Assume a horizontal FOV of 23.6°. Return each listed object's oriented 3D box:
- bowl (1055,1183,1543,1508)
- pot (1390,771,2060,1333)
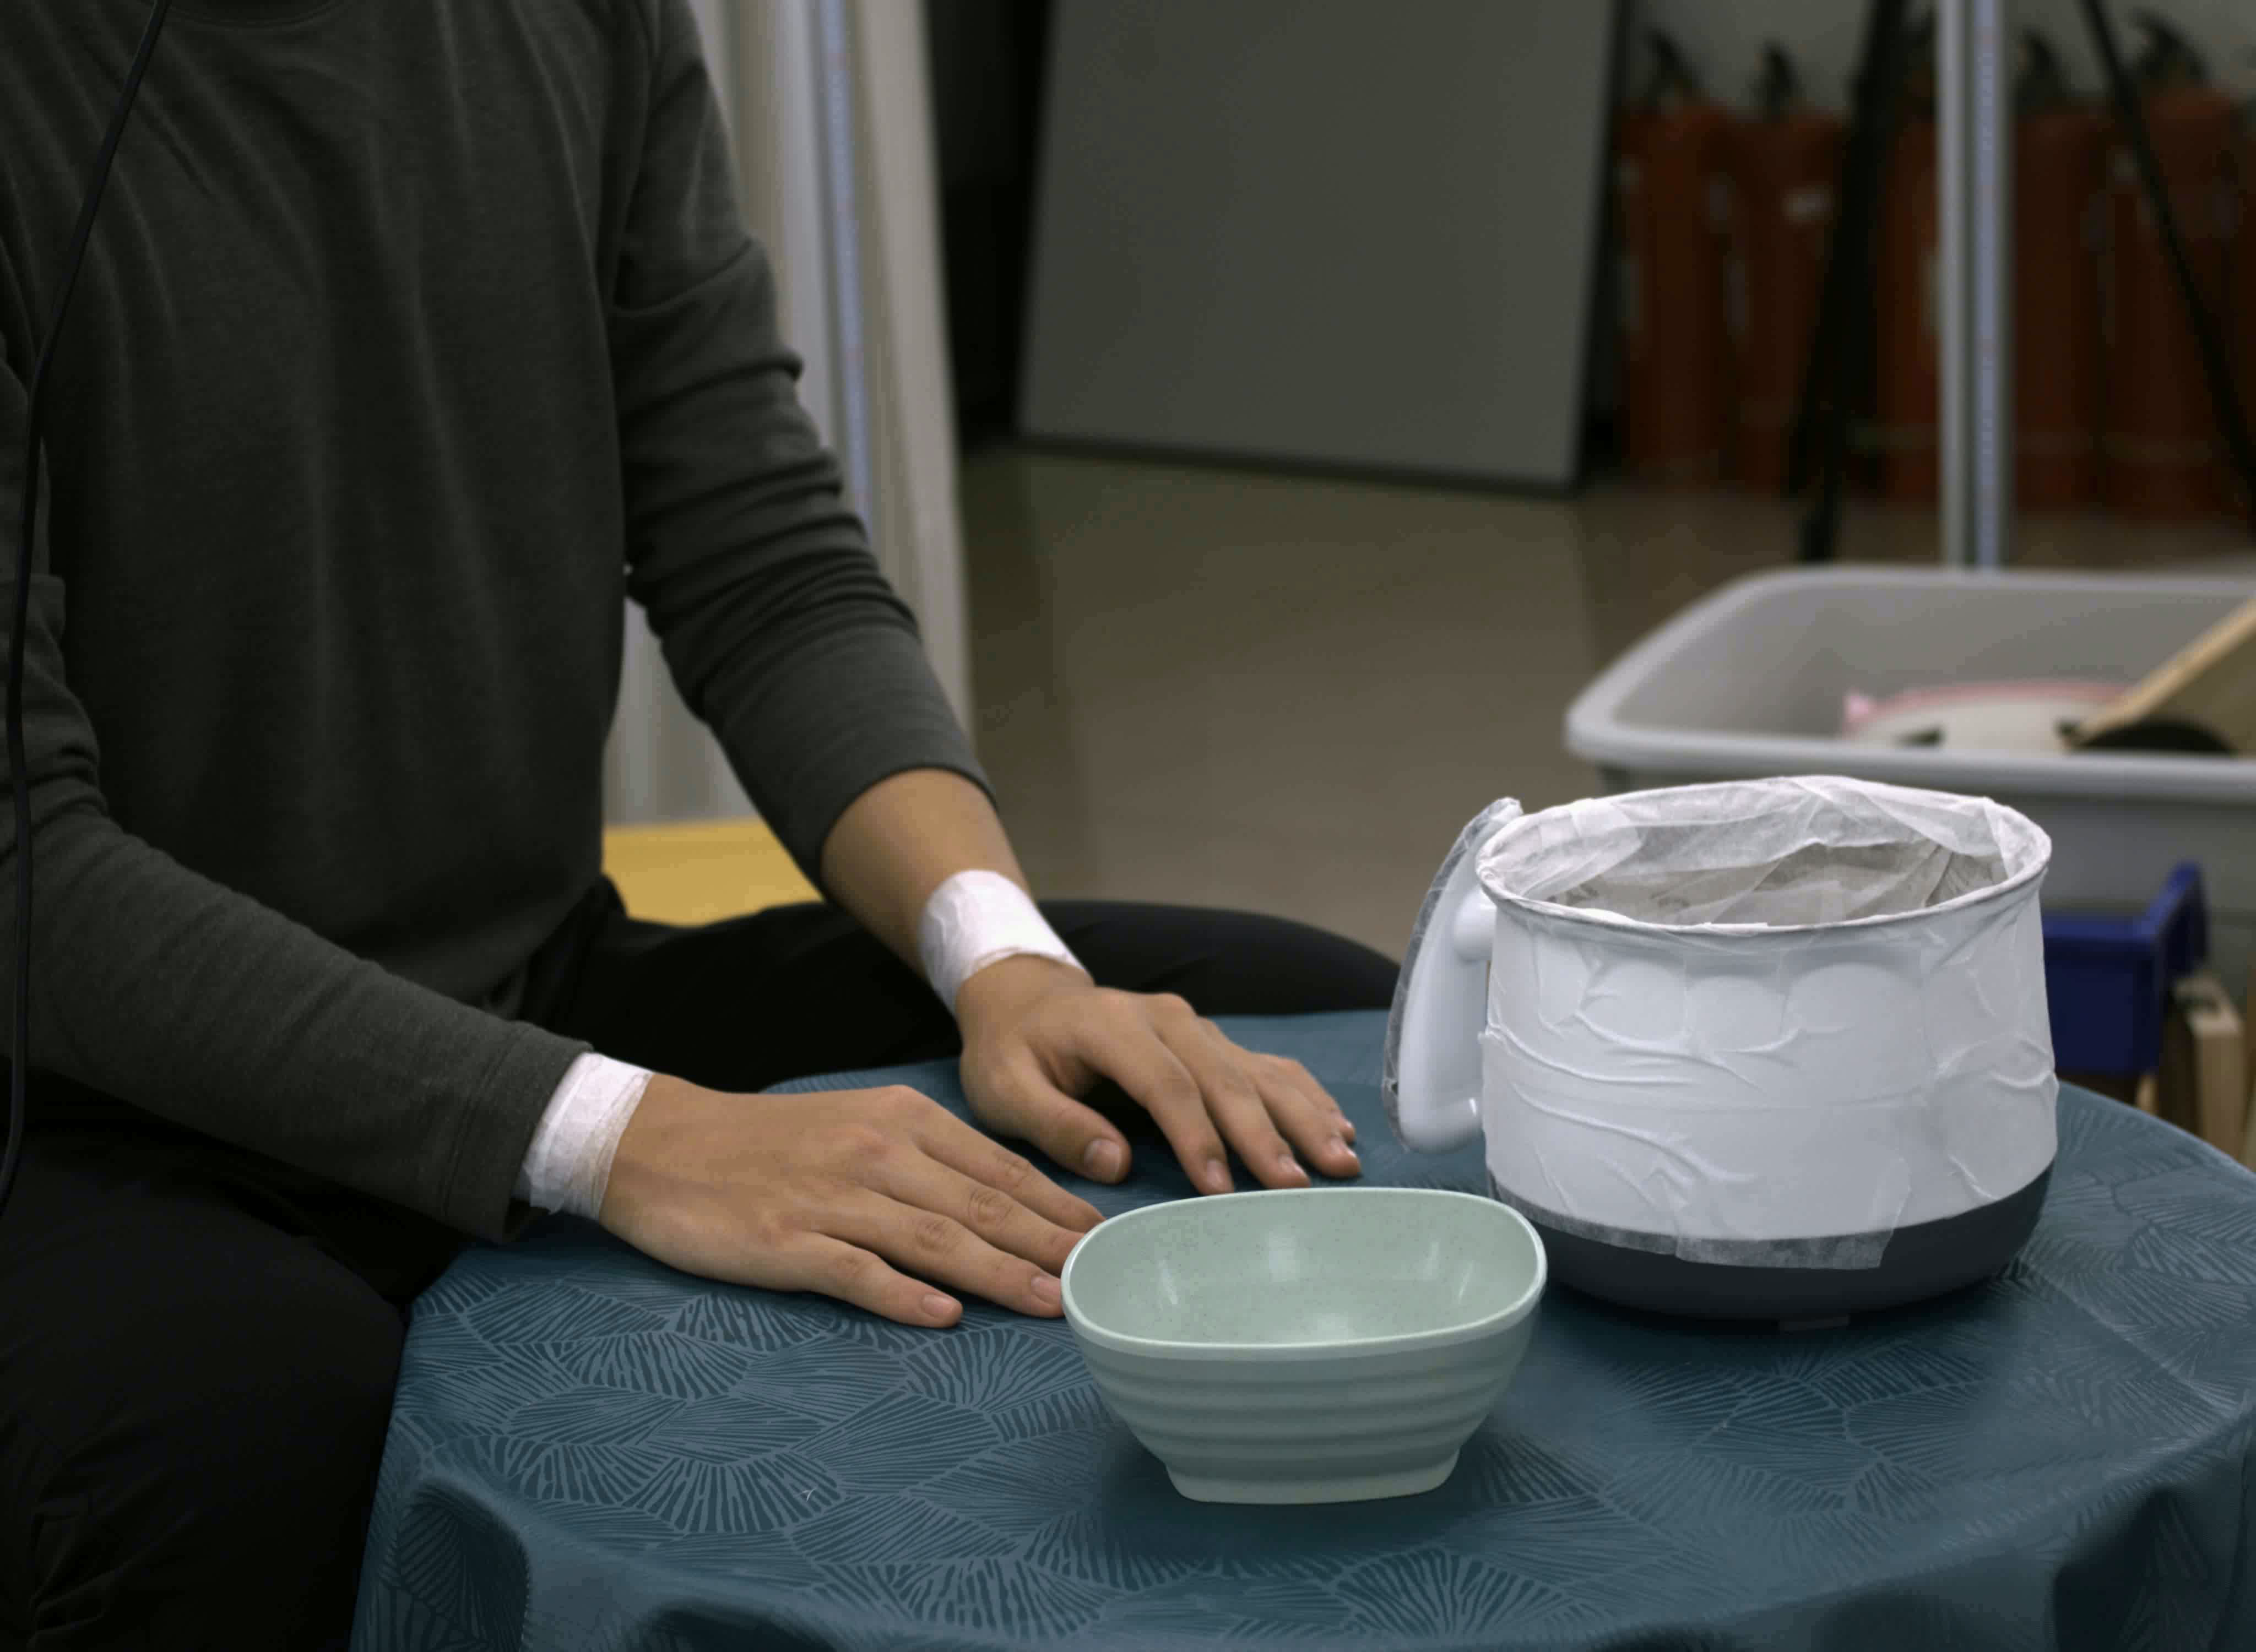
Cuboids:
[{"bbox_3d":[0.049,0.150,1.521,0.149,0.059,0.152,-2,14,0],"label":"bowl"},{"bbox_3d":[0.175,0.065,1.667,0.235,0.138,0.175,7,17,41],"label":"pot"}]
